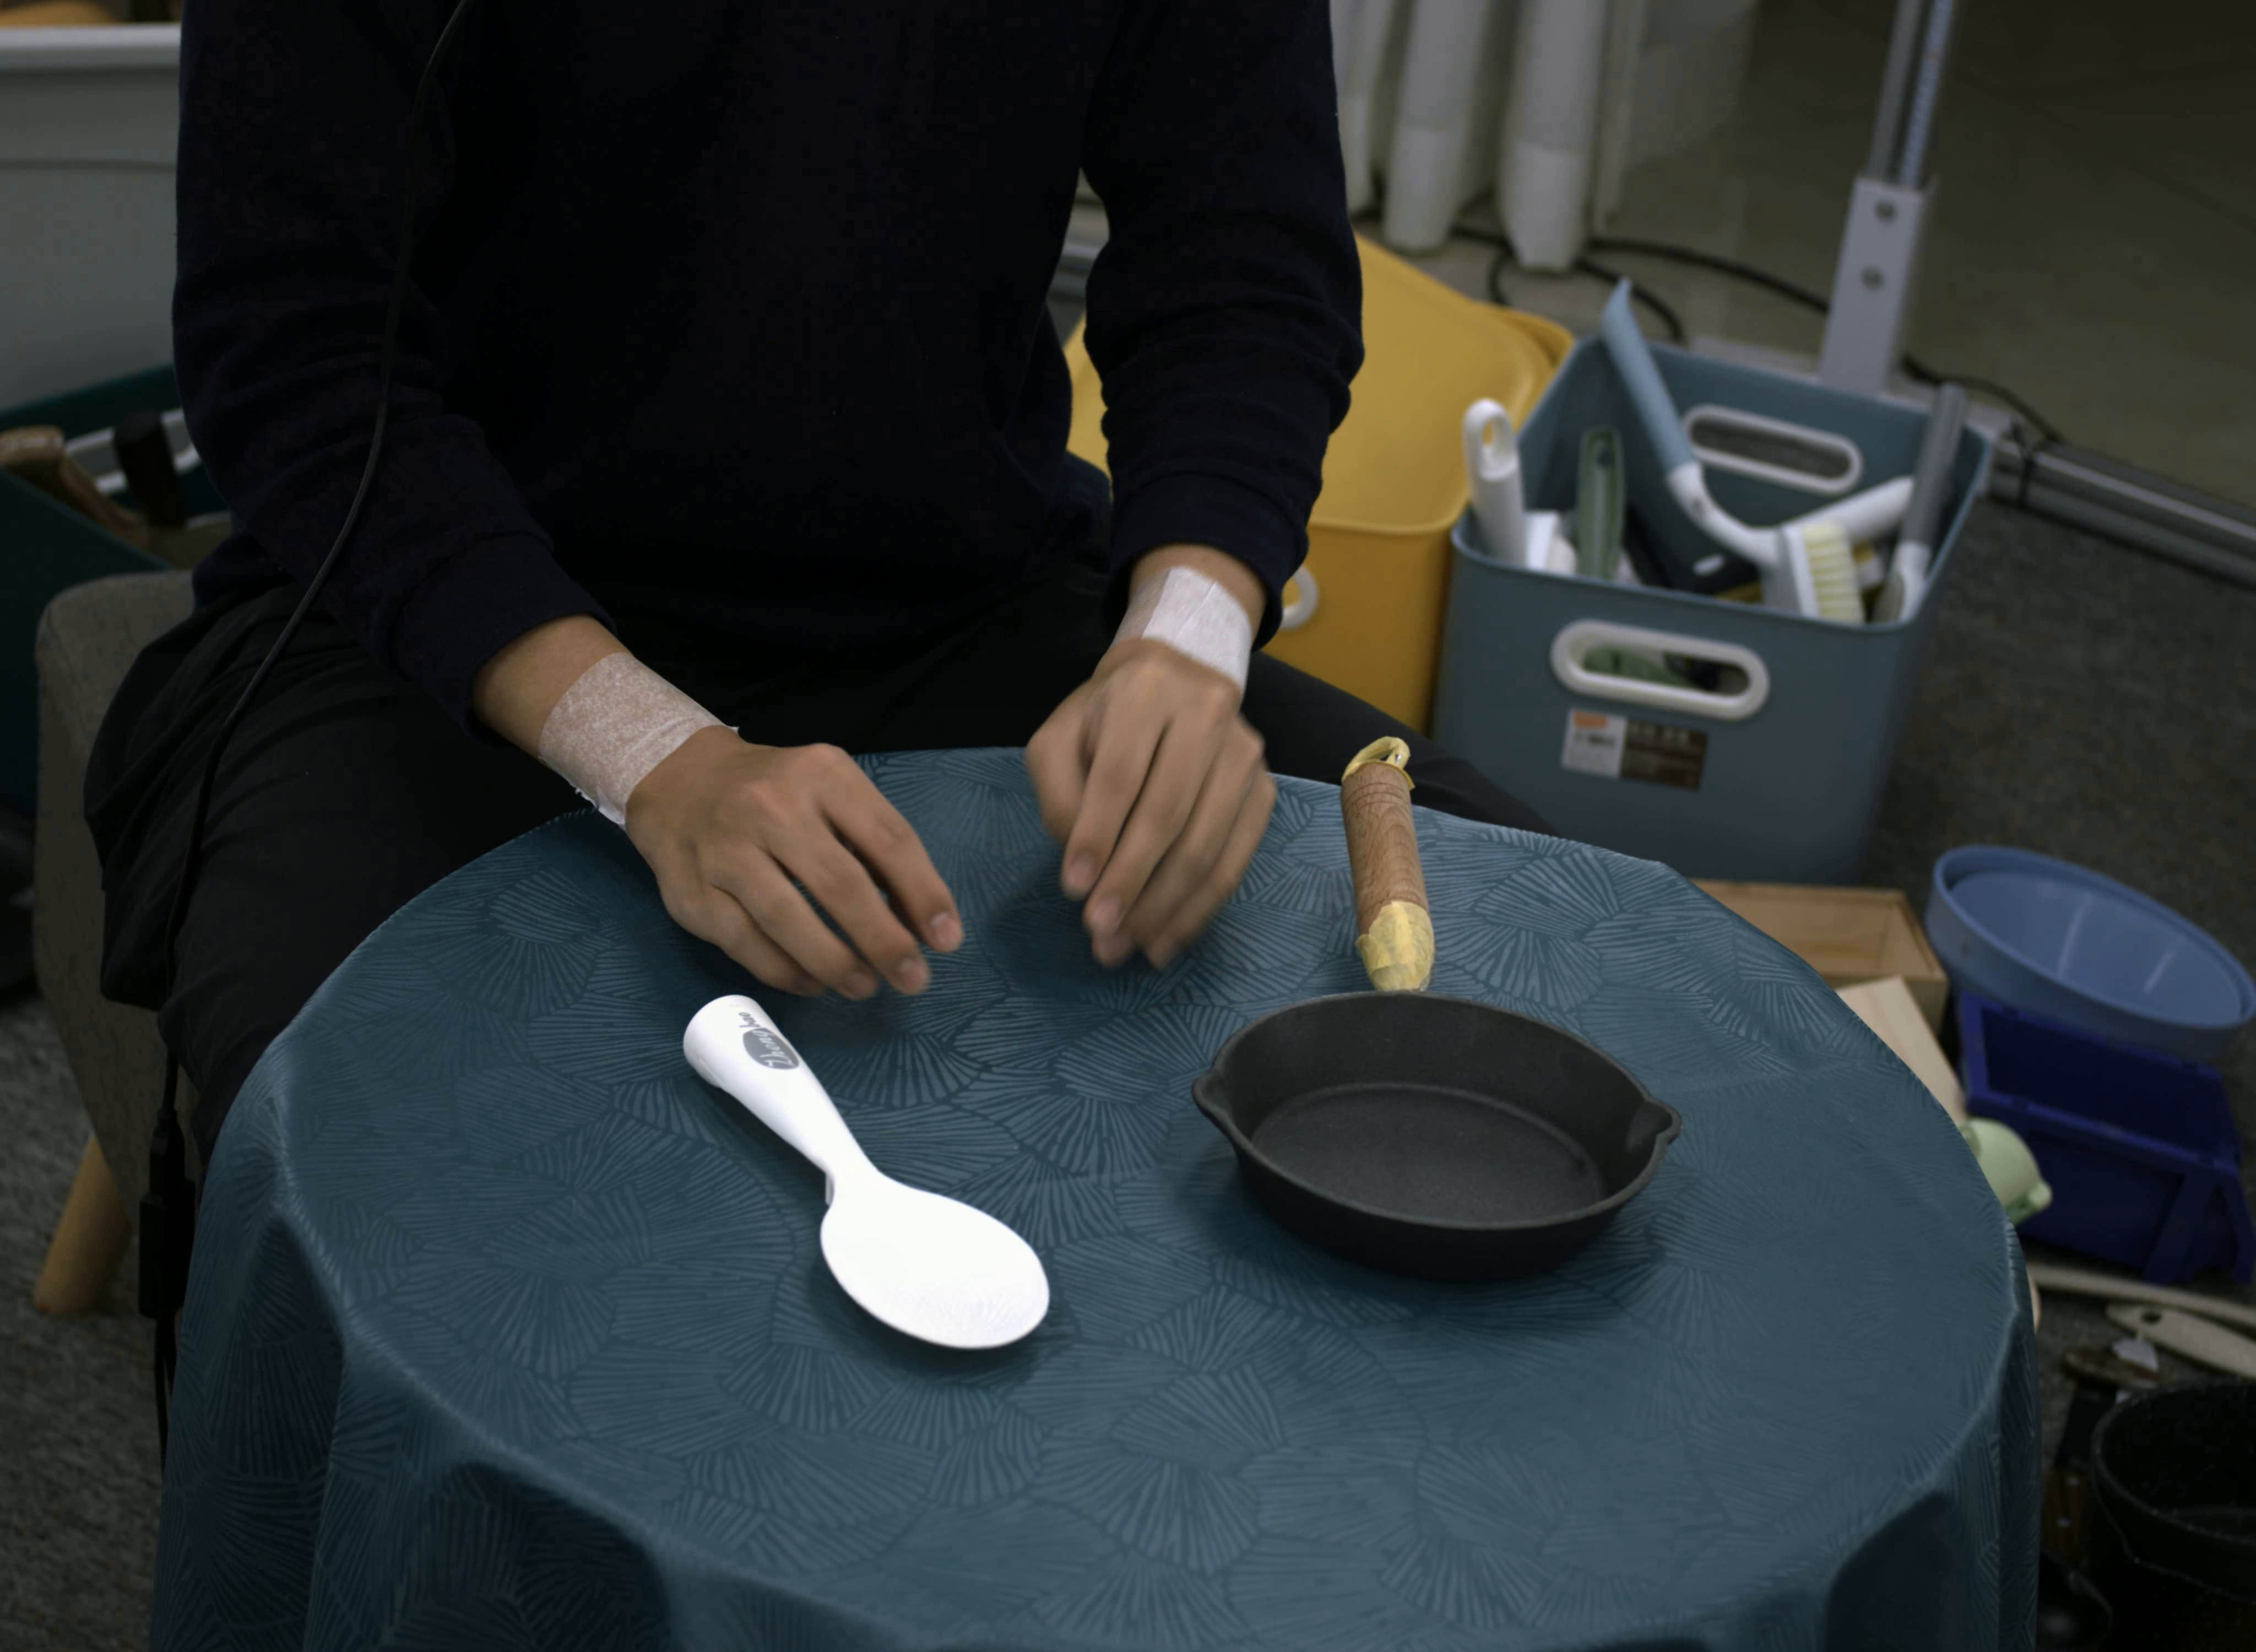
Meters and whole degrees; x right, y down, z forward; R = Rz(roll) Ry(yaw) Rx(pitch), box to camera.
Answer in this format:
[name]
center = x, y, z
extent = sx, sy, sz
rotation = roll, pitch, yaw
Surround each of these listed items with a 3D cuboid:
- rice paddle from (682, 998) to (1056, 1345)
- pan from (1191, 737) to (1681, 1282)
[rice paddle]
center = -0.090, 0.116, 1.766
extent = 0.068, 0.029, 0.207
rotation = -11, 31, -28
[pan]
center = 0.102, 0.062, 1.890
extent = 0.168, 0.049, 0.326
rotation = 4, 29, -4
